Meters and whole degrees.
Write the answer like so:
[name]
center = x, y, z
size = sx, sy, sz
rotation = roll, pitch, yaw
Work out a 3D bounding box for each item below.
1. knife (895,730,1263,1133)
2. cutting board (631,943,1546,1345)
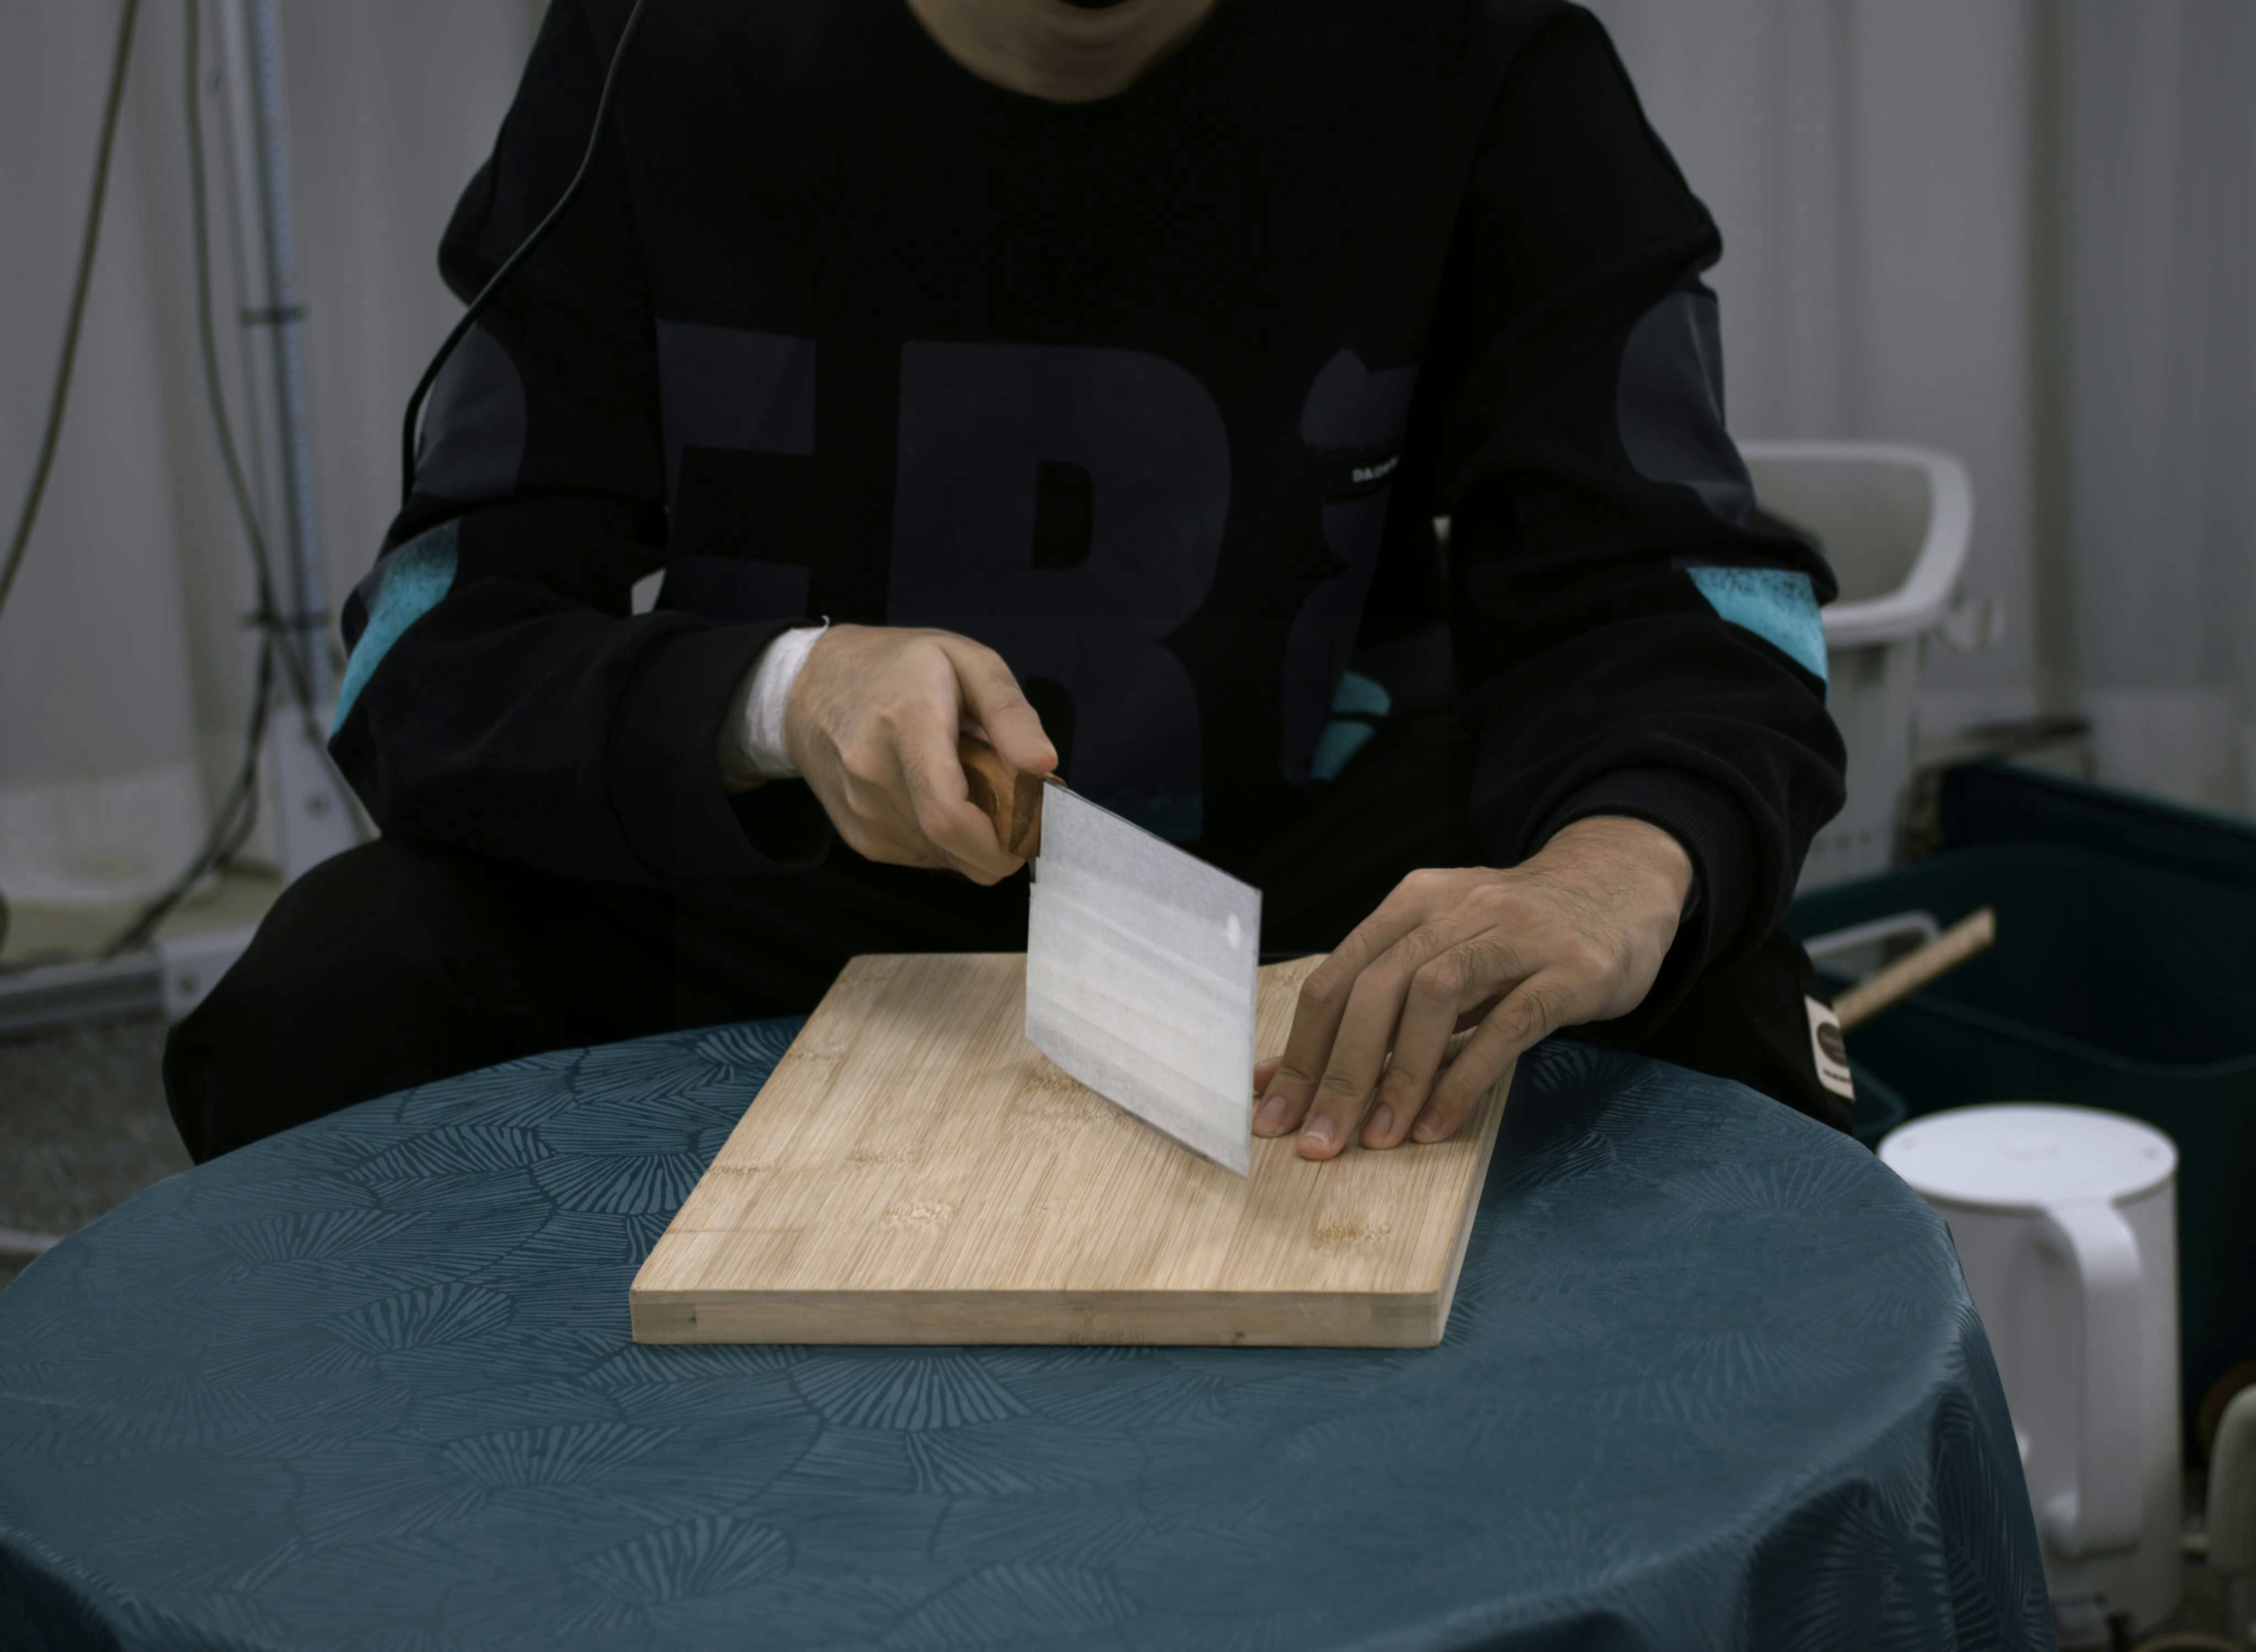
[knife]
center = -0.018, 0.033, 1.751
size = 0.021, 0.093, 0.308
rotation = -1, 11, -22
[cutting board]
center = -0.001, 0.097, 1.749
size = 0.250, 0.023, 0.350
rotation = -1, 15, 8
